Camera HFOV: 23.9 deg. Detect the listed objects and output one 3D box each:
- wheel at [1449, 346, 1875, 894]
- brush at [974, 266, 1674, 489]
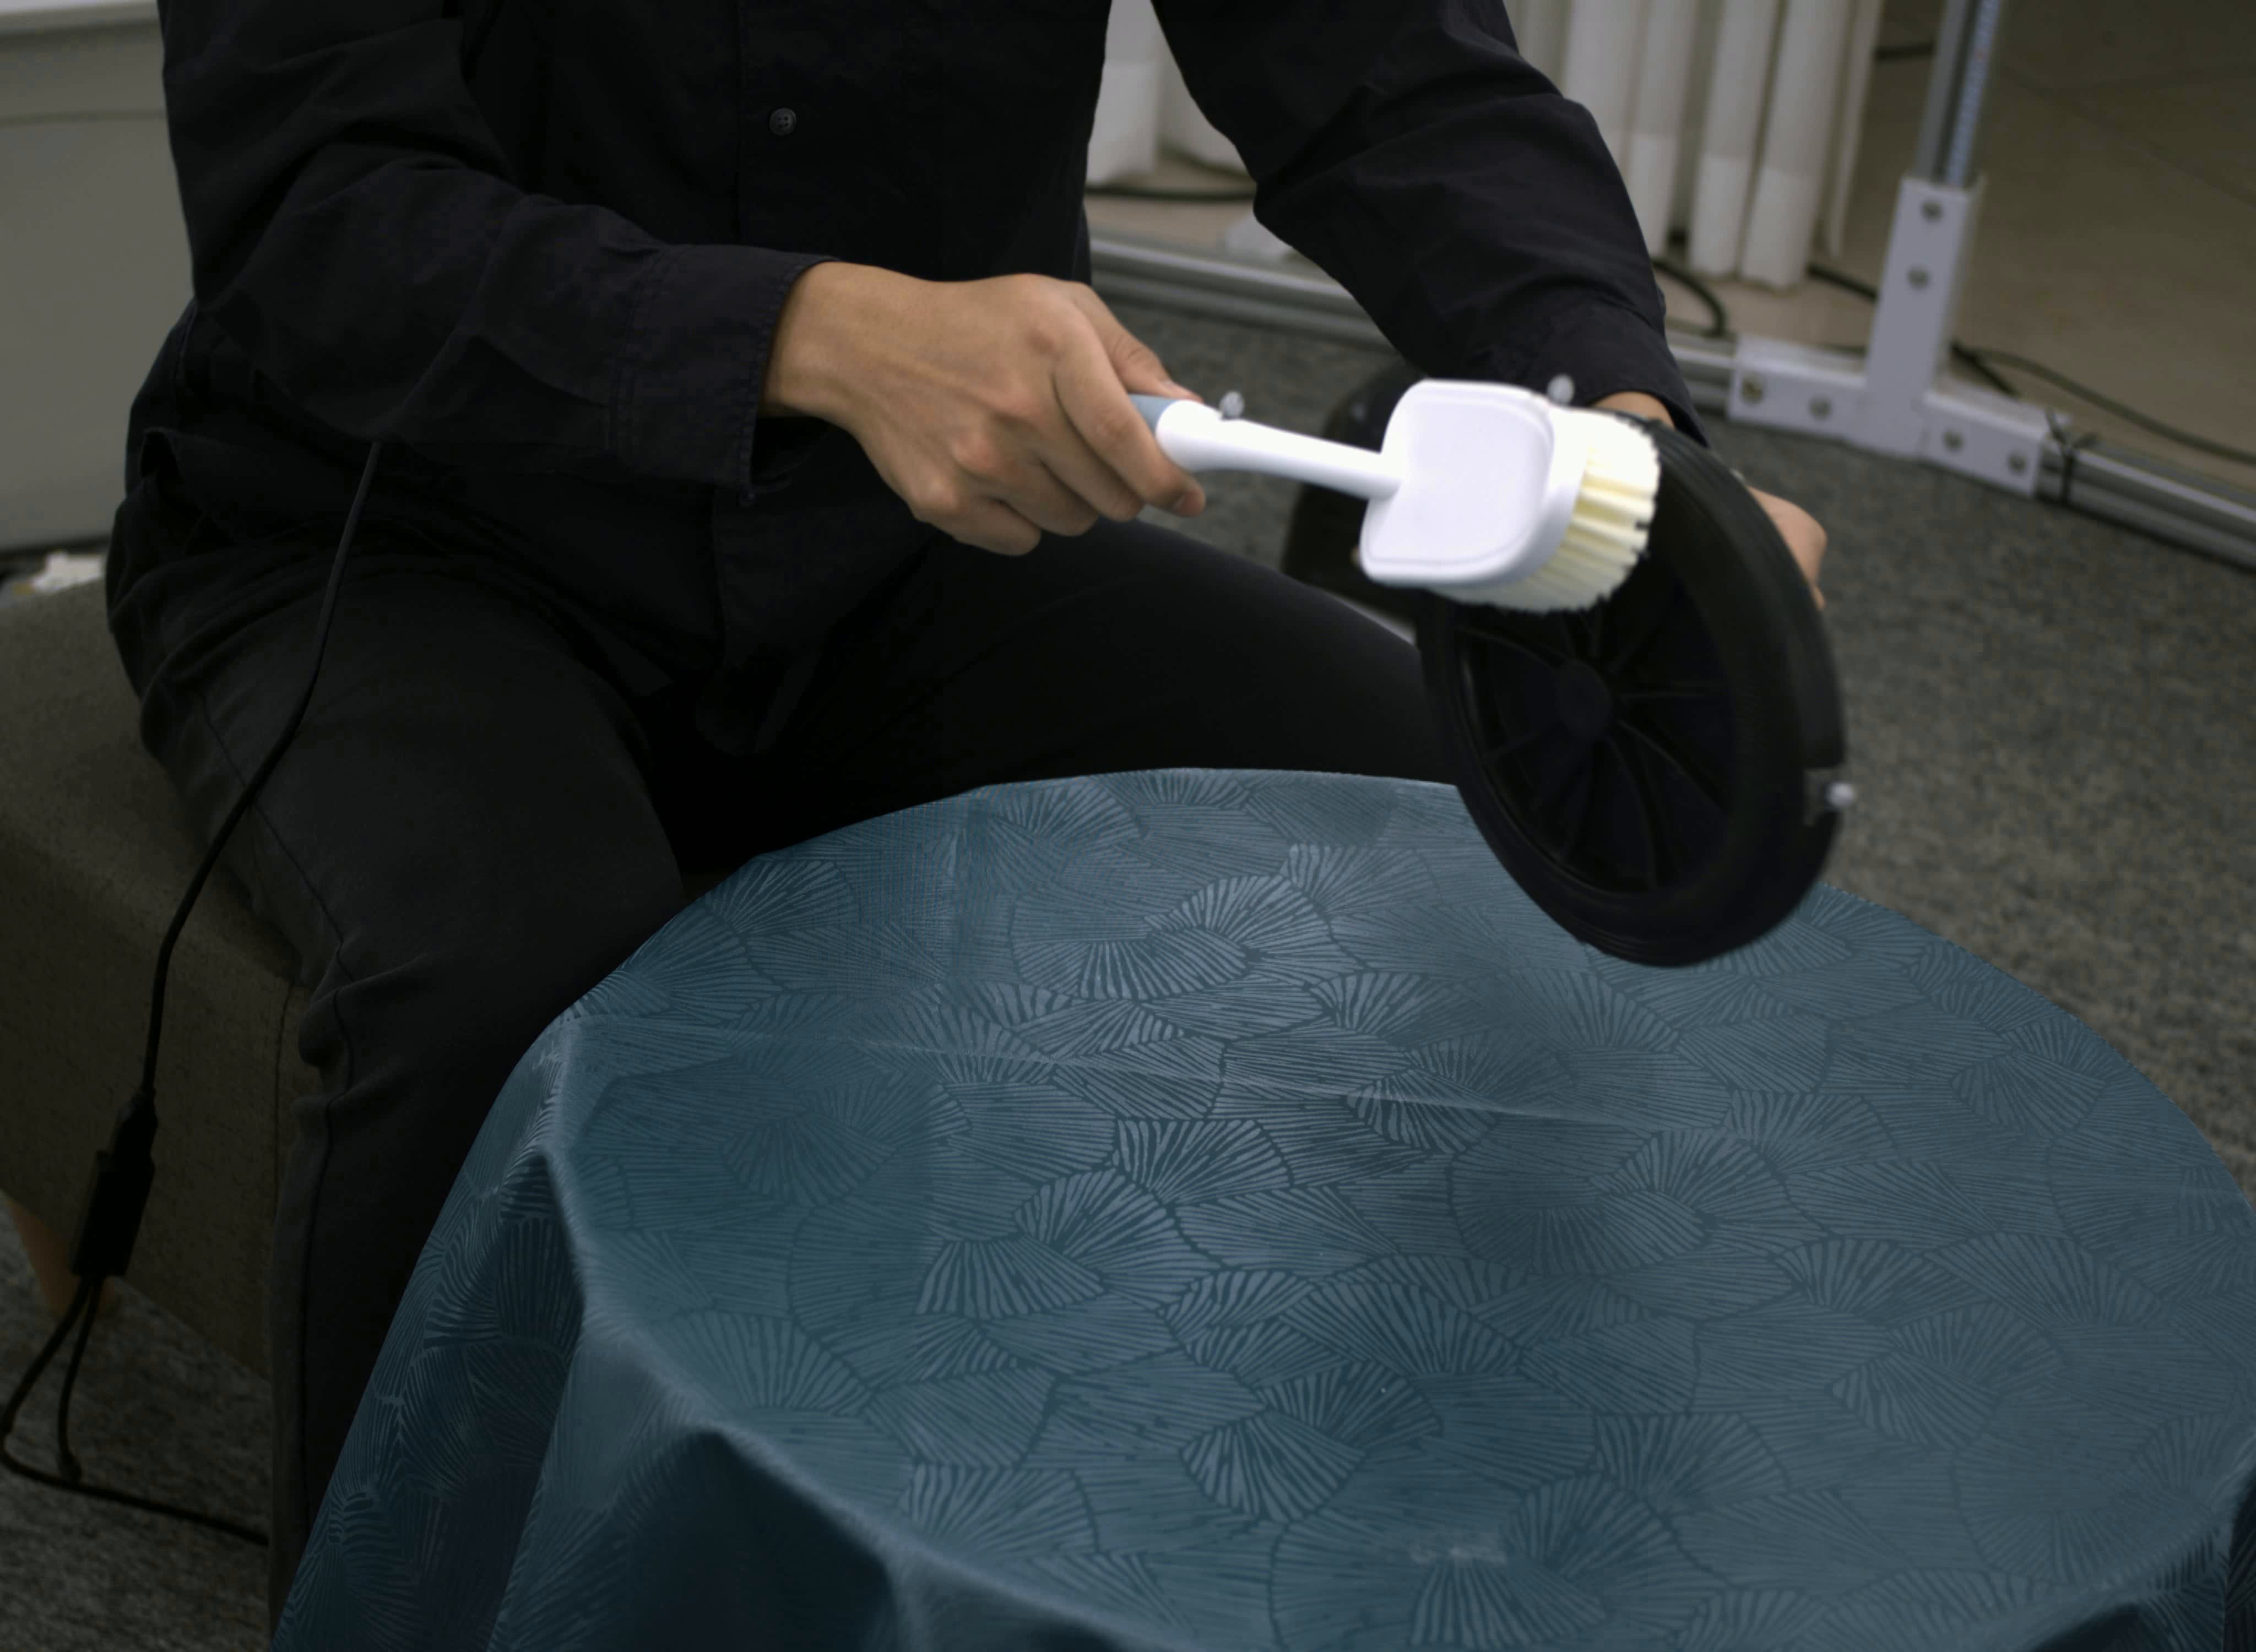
[{"bbox_3d":[0.193,-0.076,1.794,0.079,0.187,0.191,-20,64,-34],"label":"wheel"},{"bbox_3d":[0.074,-0.162,1.803,0.083,0.084,0.327,-47,33,-23],"label":"brush"}]
